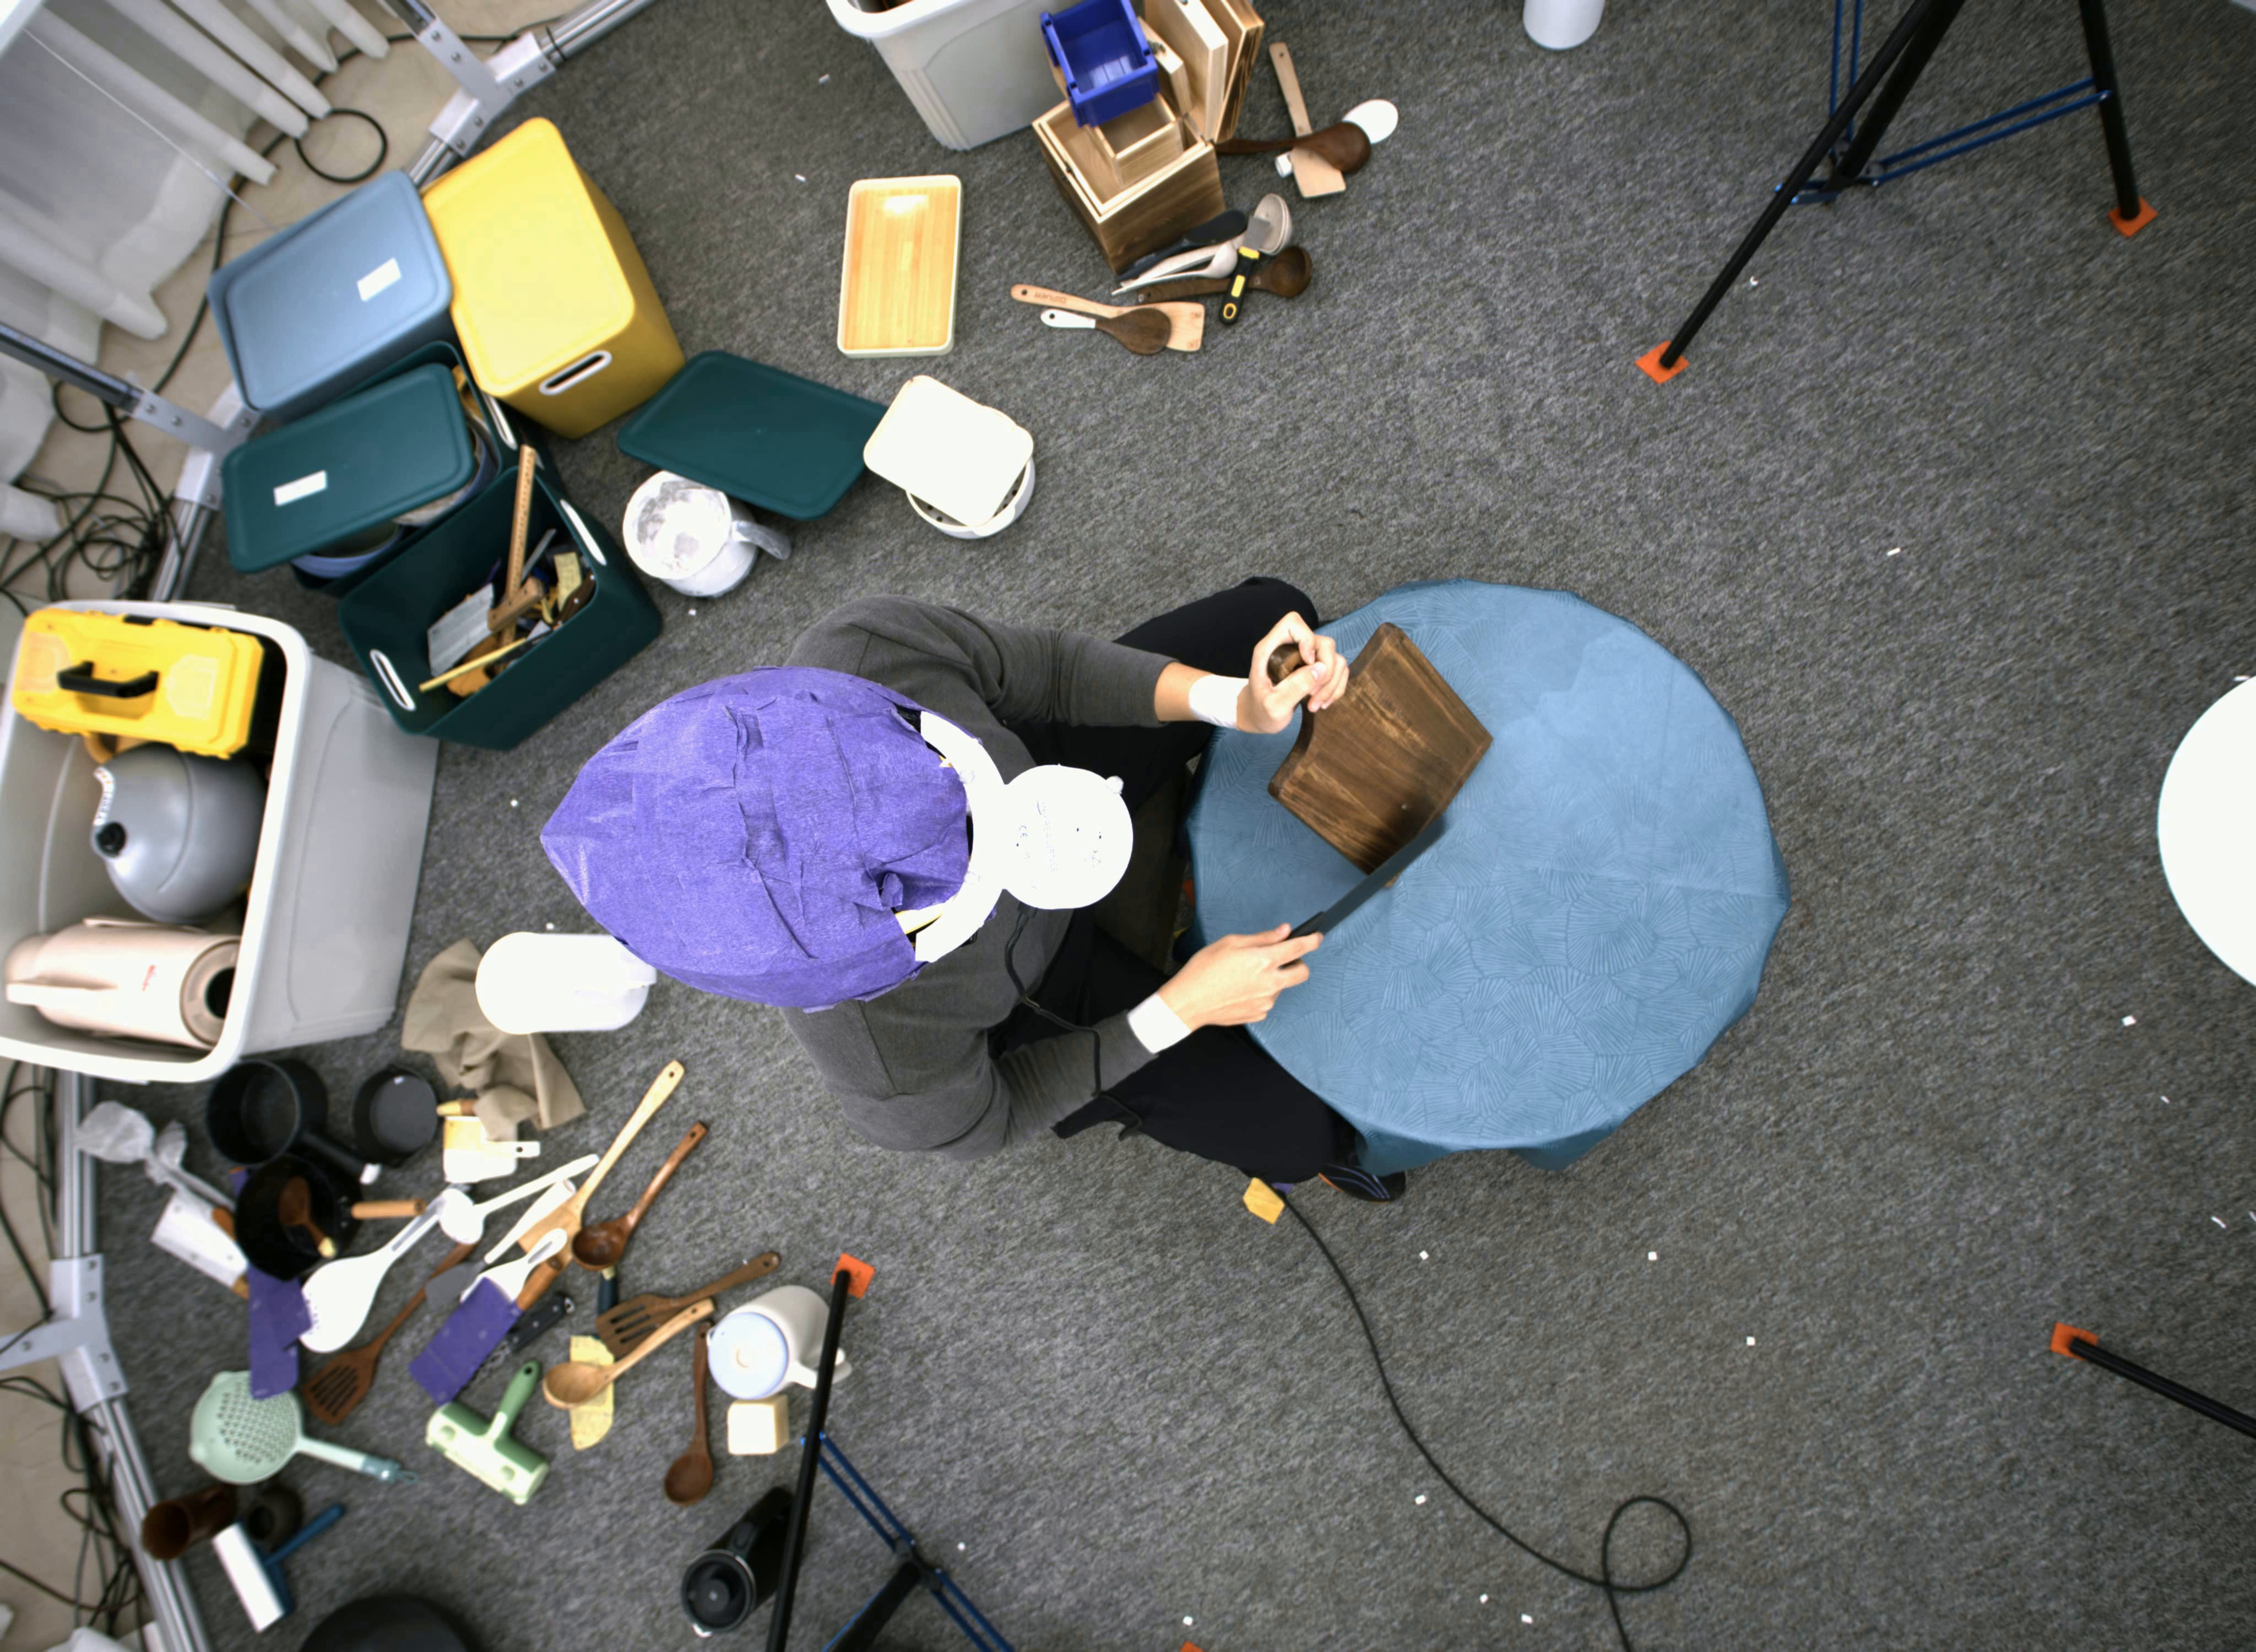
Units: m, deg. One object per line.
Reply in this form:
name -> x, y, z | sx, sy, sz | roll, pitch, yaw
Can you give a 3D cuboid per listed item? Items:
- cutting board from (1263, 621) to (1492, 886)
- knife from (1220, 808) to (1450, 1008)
cutting board -> 0.228, -0.082, 1.319 | 0.023, 0.355, 0.201 | 37, 93, 42
knife -> 0.213, 0.083, 1.400 | 0.301, 0.082, 0.020 | -38, 67, -5
